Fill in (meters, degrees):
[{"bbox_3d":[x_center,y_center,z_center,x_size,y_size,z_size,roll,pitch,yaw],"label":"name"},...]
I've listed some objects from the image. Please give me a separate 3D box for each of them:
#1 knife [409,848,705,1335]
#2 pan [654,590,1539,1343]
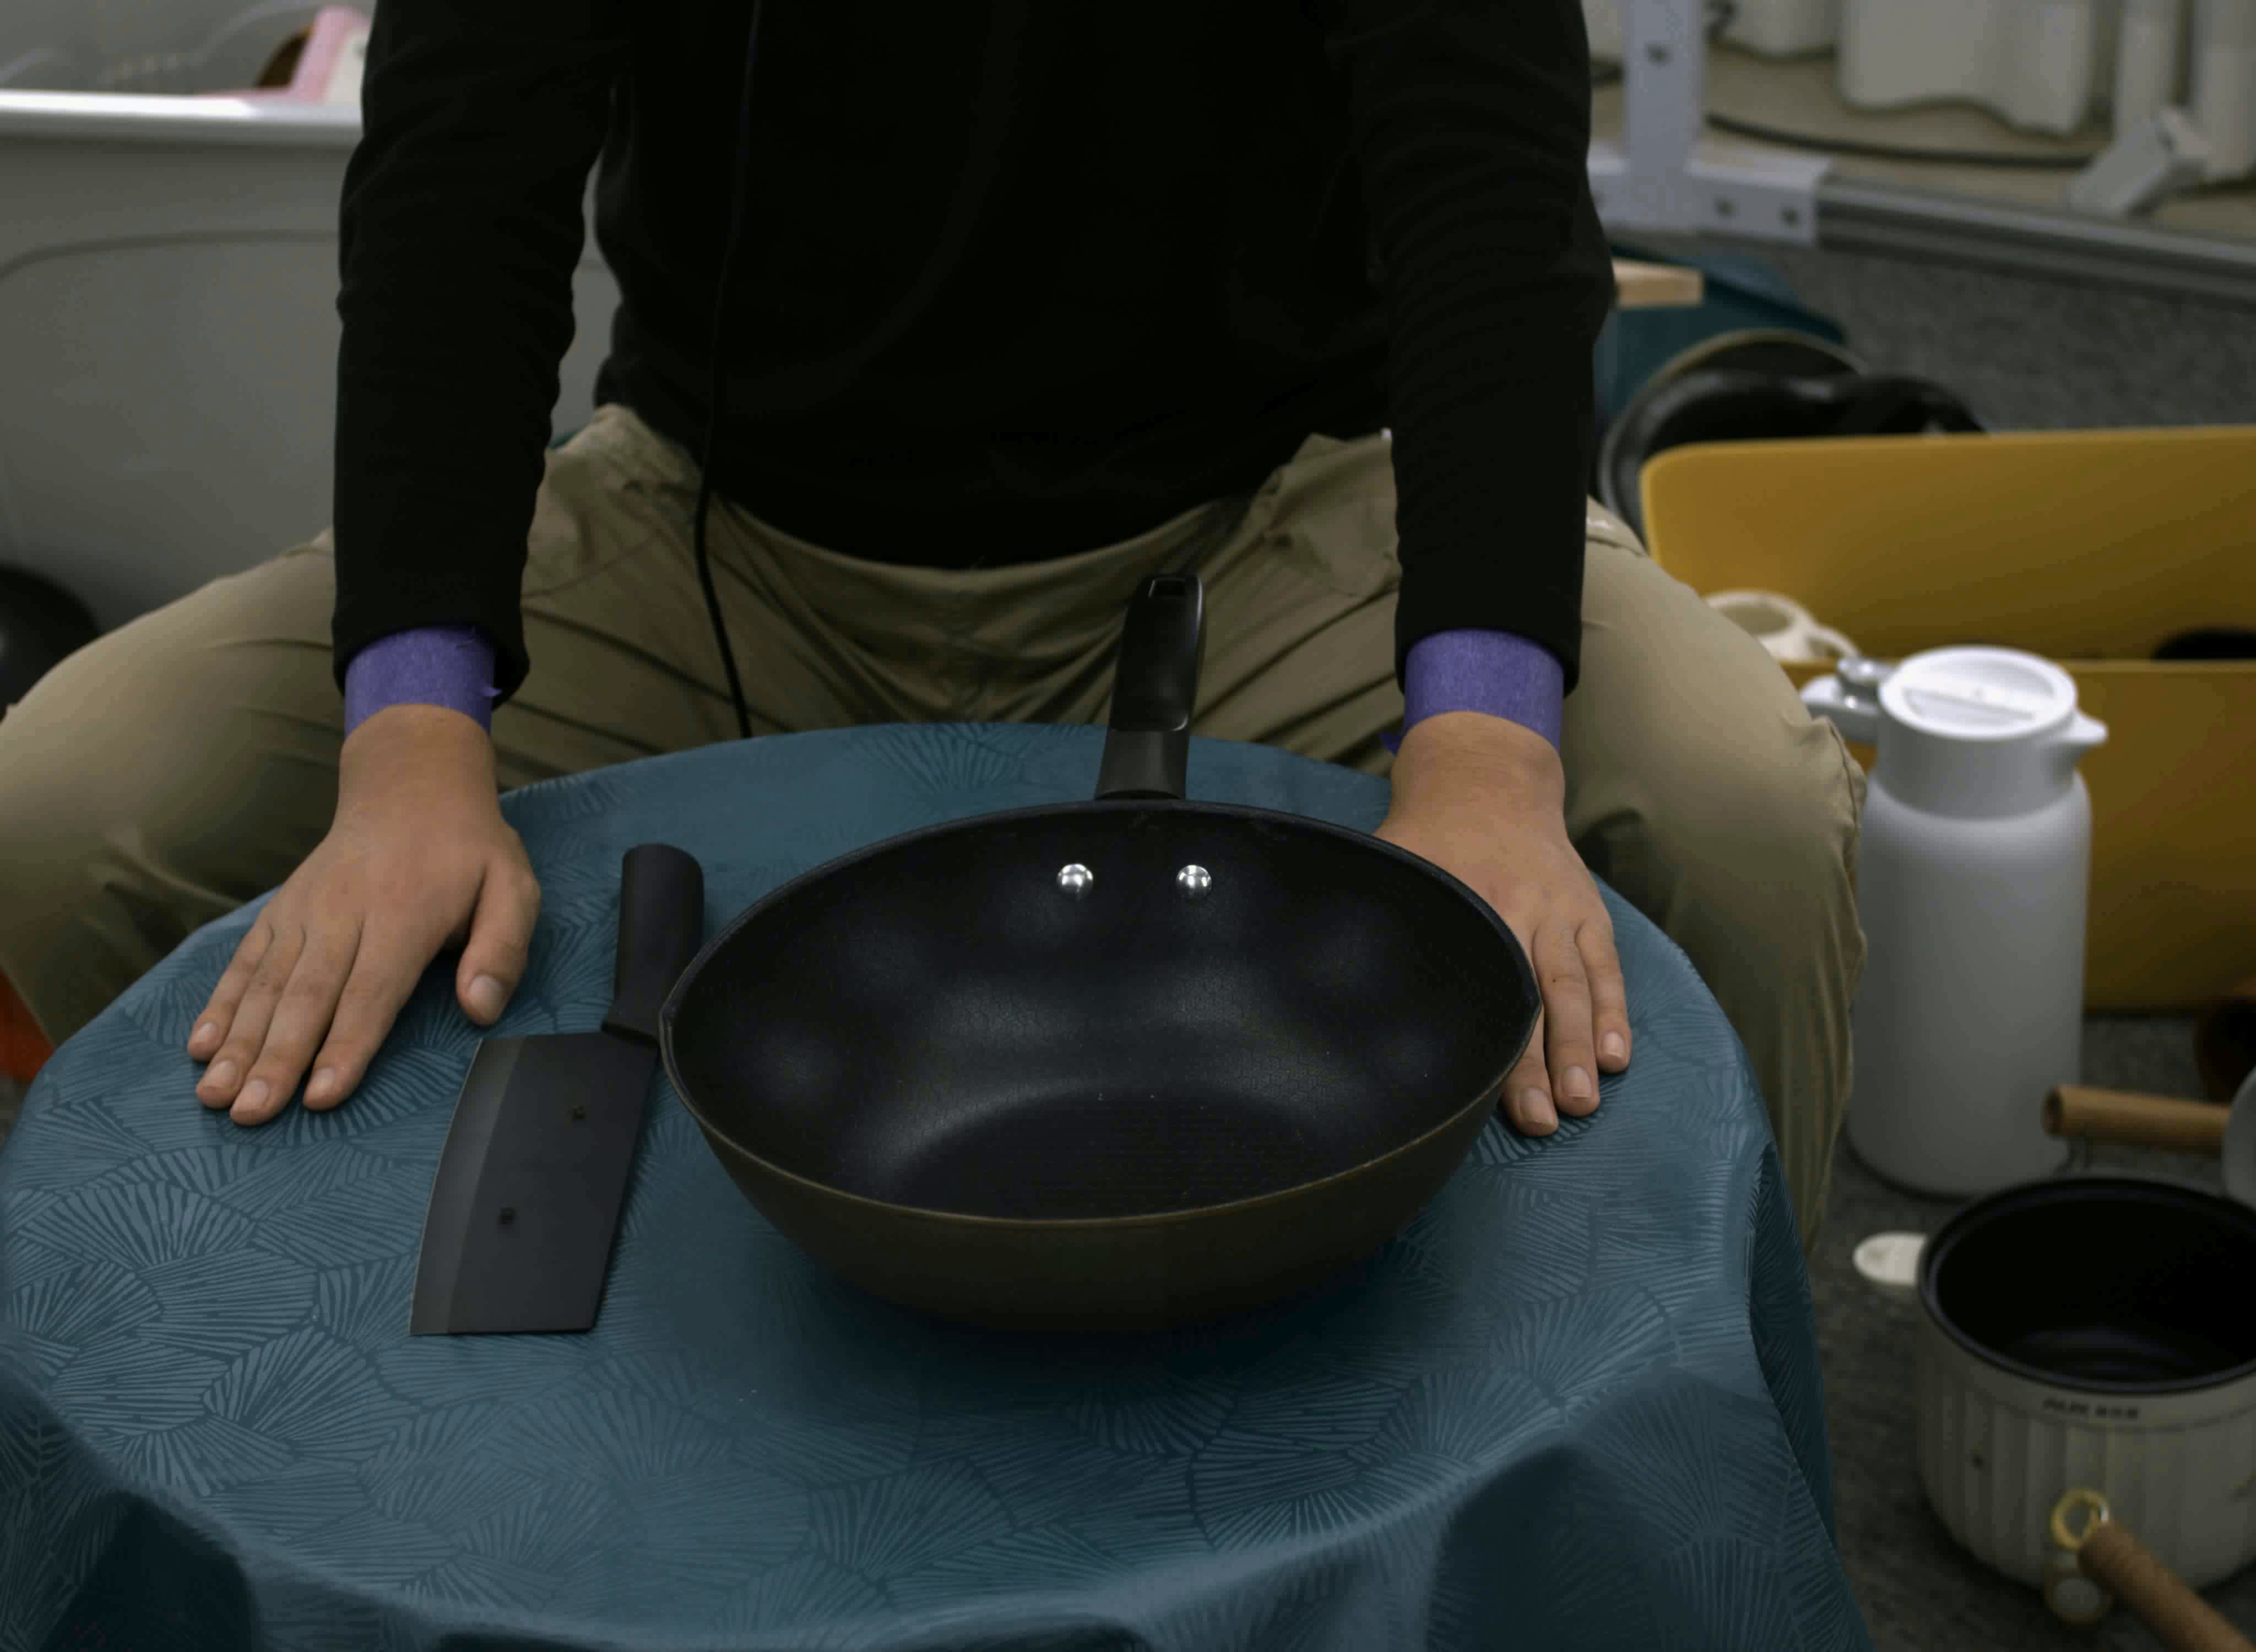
[{"bbox_3d":[-0.191,0.089,1.926,0.080,0.020,0.307,1,29,8],"label":"knife"},{"bbox_3d":[-0.001,0.049,1.912,0.286,0.086,0.471,0,27,6],"label":"pan"}]
